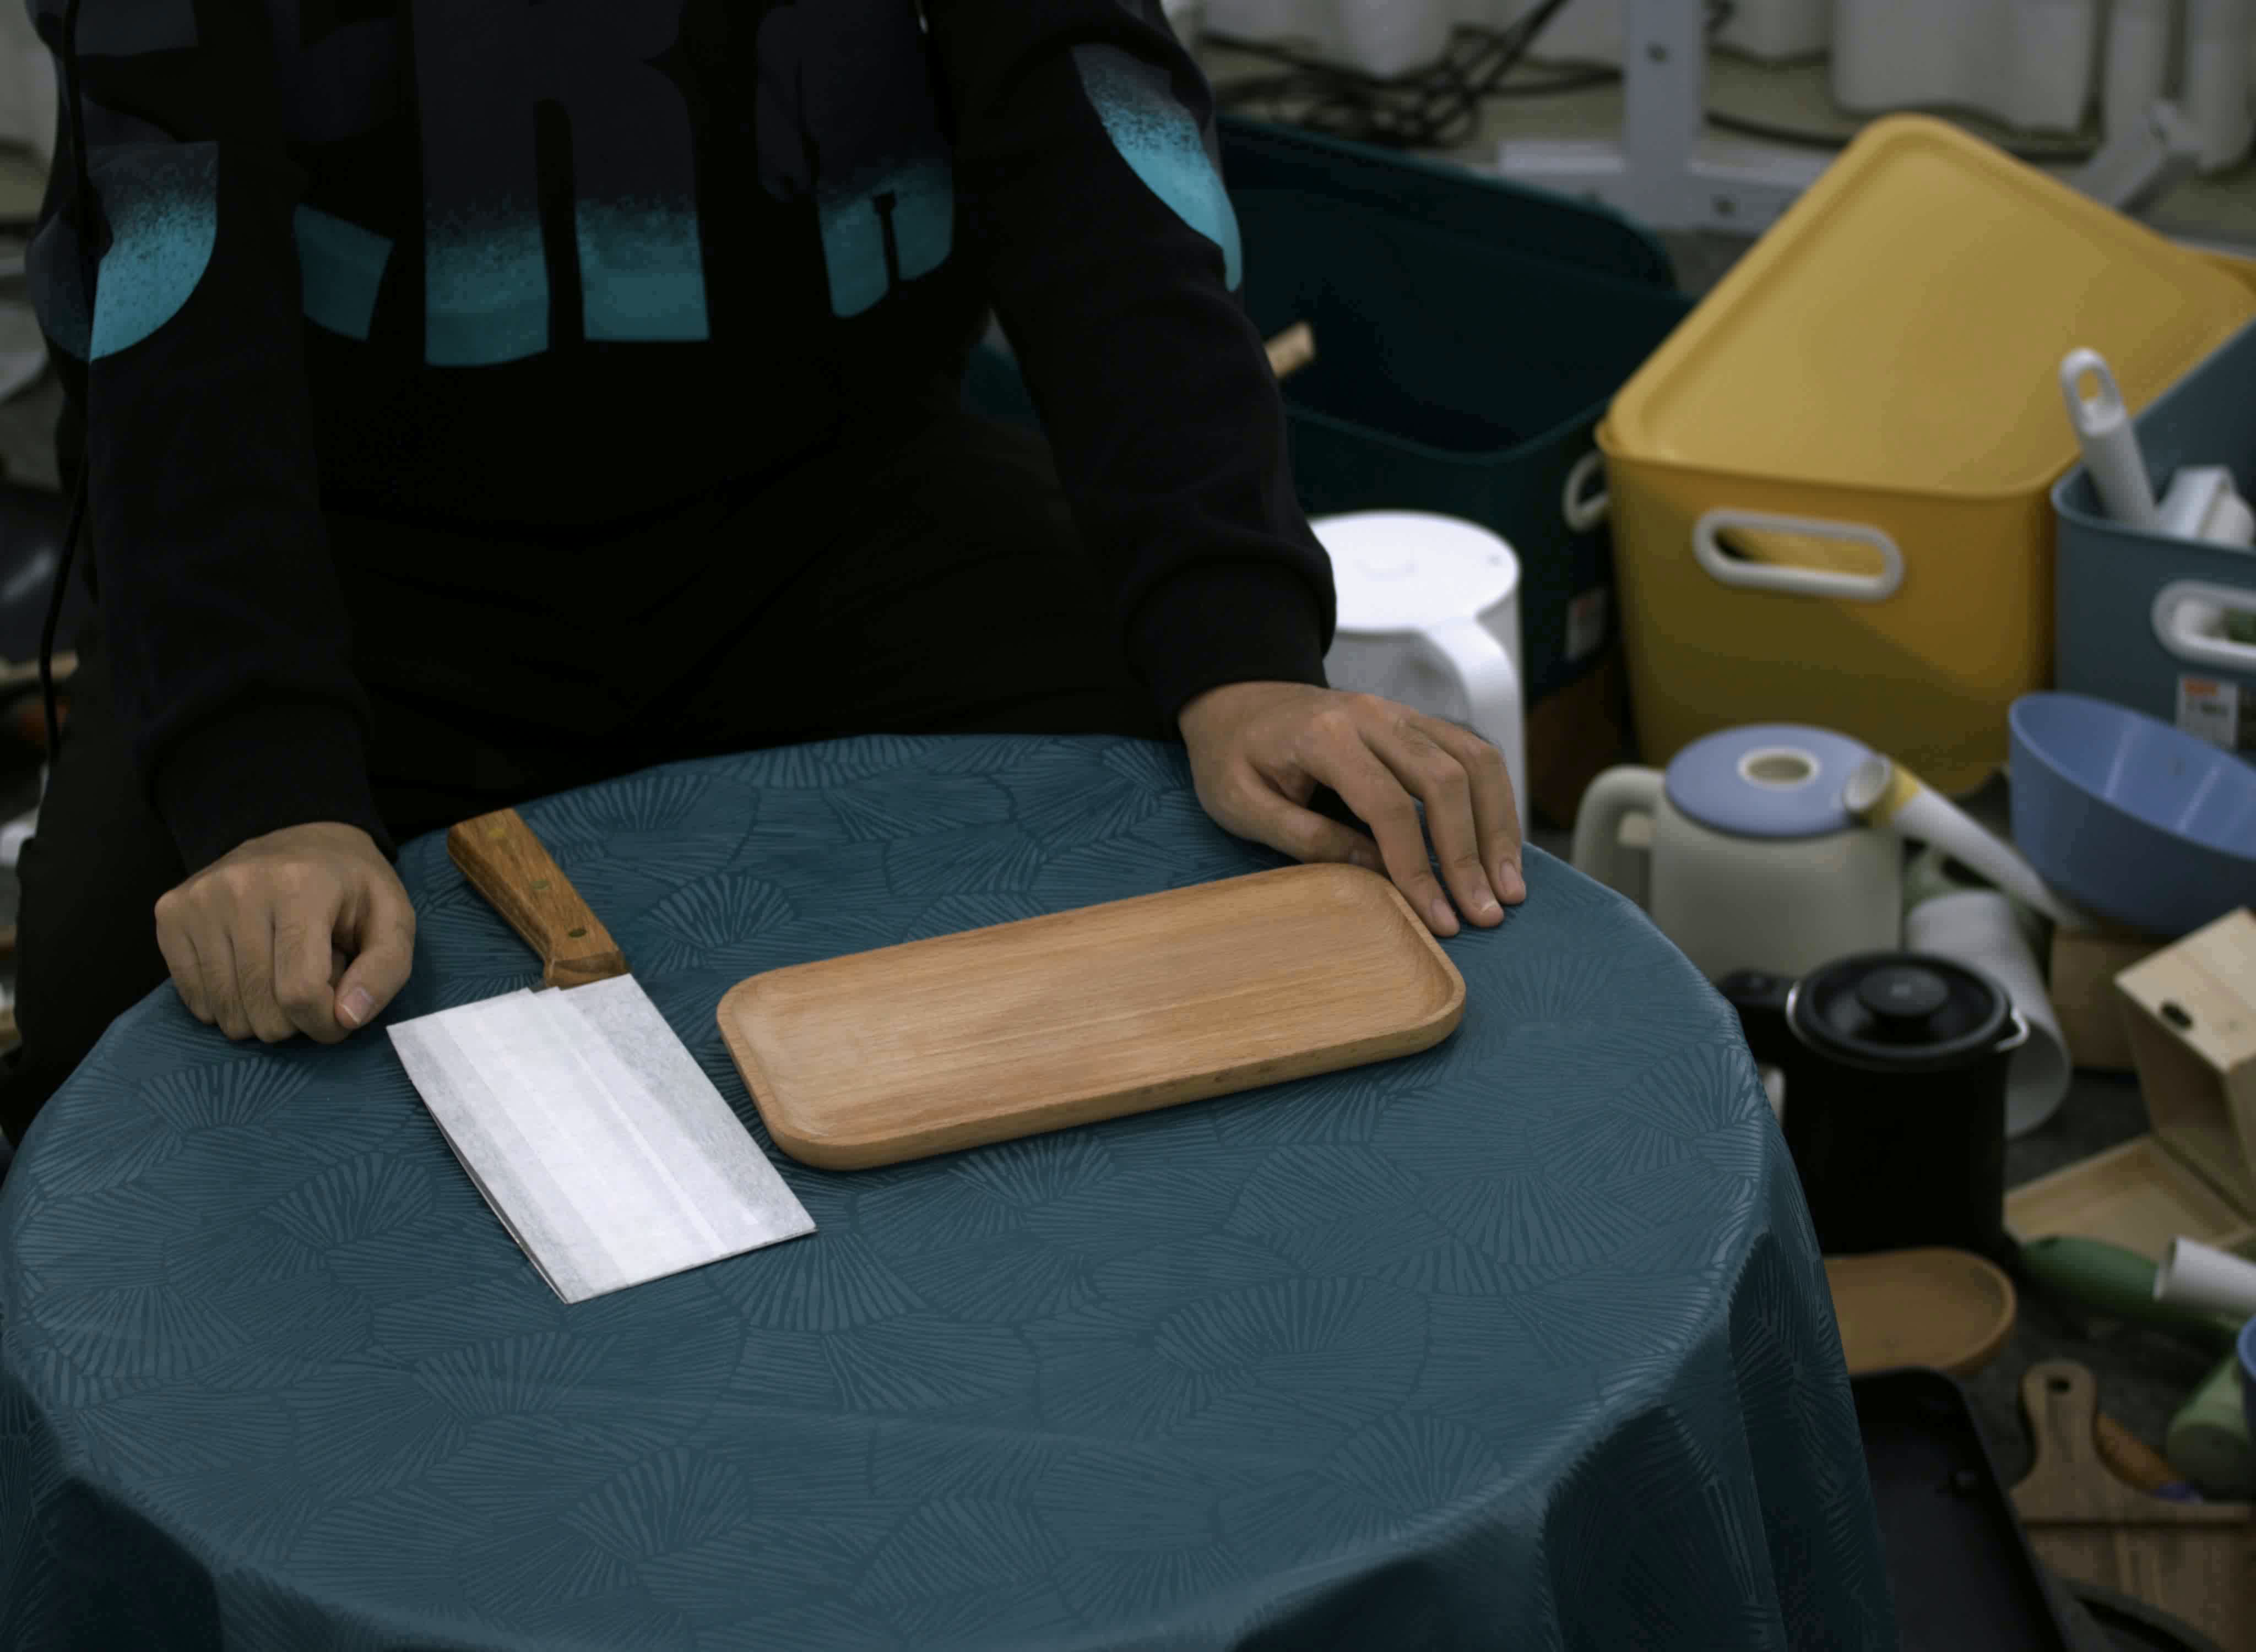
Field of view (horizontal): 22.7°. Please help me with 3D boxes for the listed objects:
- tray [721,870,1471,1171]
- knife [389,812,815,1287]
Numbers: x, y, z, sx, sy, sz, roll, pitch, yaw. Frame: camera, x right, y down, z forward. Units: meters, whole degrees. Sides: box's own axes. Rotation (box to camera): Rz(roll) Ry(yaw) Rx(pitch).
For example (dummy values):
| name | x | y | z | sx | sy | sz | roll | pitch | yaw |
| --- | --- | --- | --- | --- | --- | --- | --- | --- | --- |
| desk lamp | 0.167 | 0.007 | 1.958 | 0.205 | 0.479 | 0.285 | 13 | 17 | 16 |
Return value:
| name | x | y | z | sx | sy | sz | roll | pitch | yaw |
| --- | --- | --- | --- | --- | --- | --- | --- | --- | --- |
| tray | -0.011 | 0.067 | 1.952 | 0.251 | 0.022 | 0.132 | -9 | 30 | -14 |
| knife | -0.203 | 0.077 | 1.952 | 0.093 | 0.021 | 0.308 | -15 | 32 | -19 |
